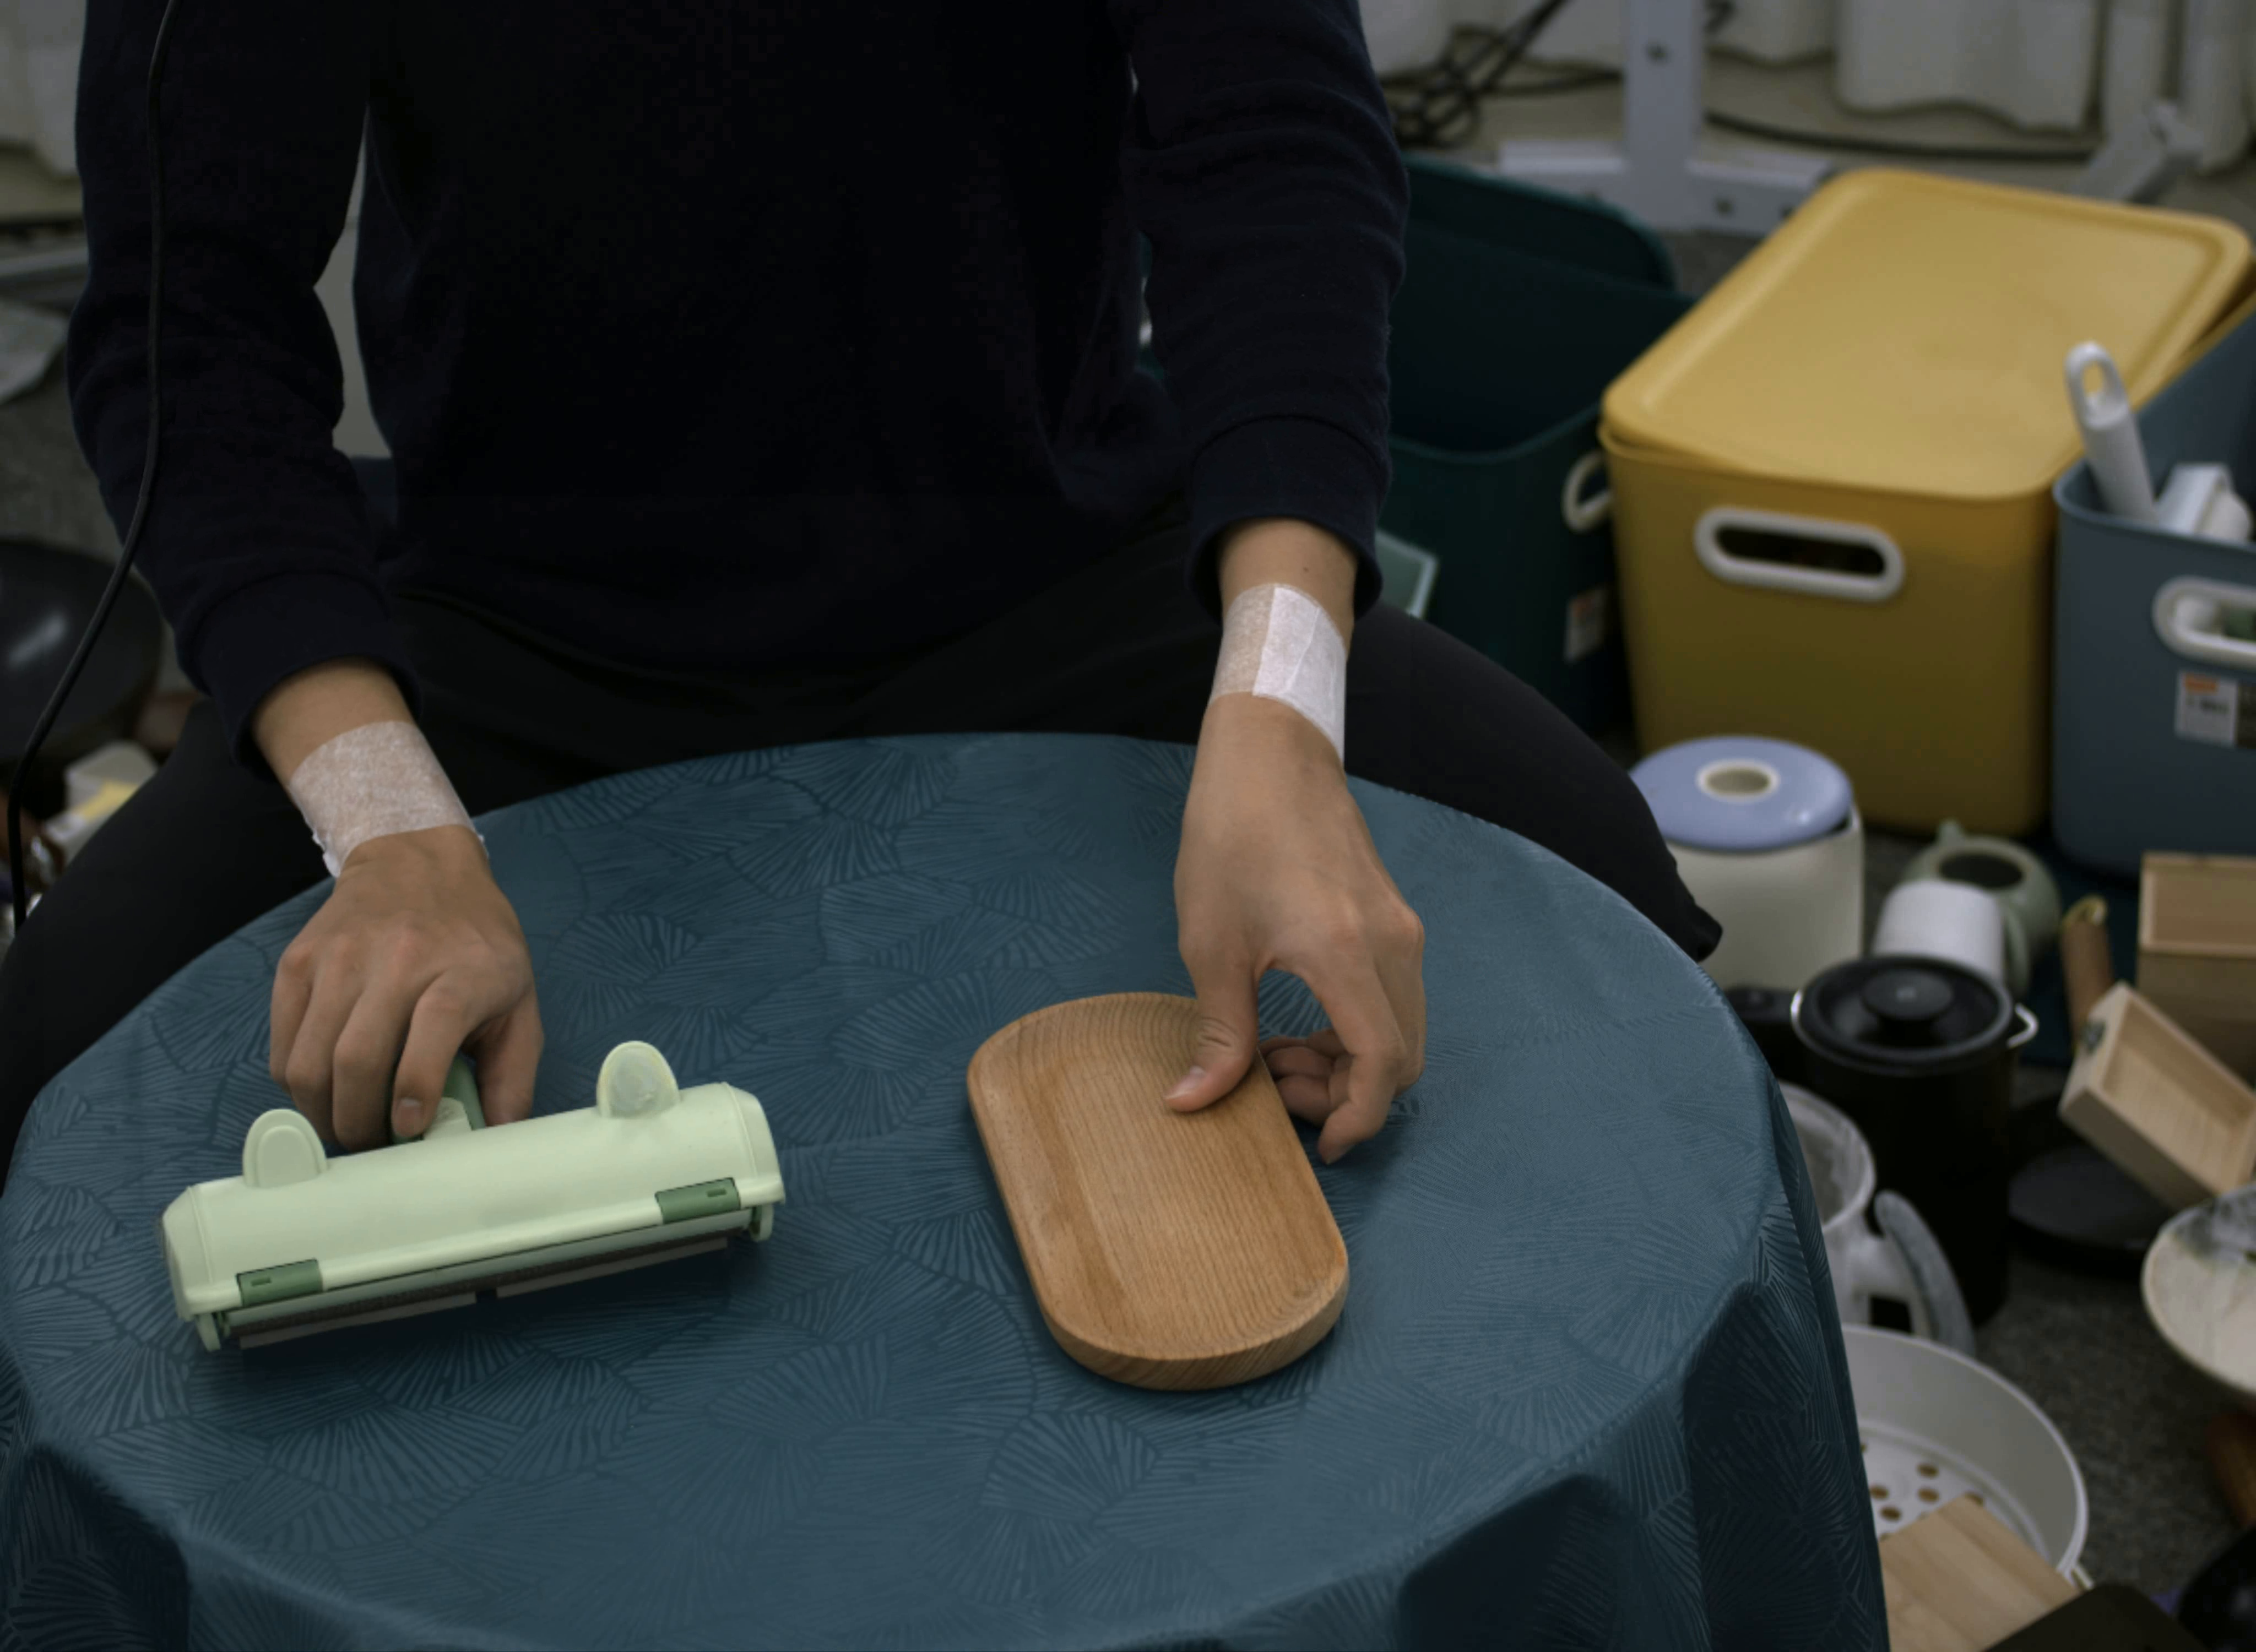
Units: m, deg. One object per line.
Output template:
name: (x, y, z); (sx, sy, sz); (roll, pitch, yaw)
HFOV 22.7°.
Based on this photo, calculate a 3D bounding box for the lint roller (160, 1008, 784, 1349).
lint roller: (-0.228, 0.090, 1.852); (0.199, 0.081, 0.185); (-10, 34, -15)

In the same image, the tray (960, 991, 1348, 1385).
tray: (0.007, 0.117, 1.852); (0.101, 0.020, 0.234); (-9, 27, -8)
